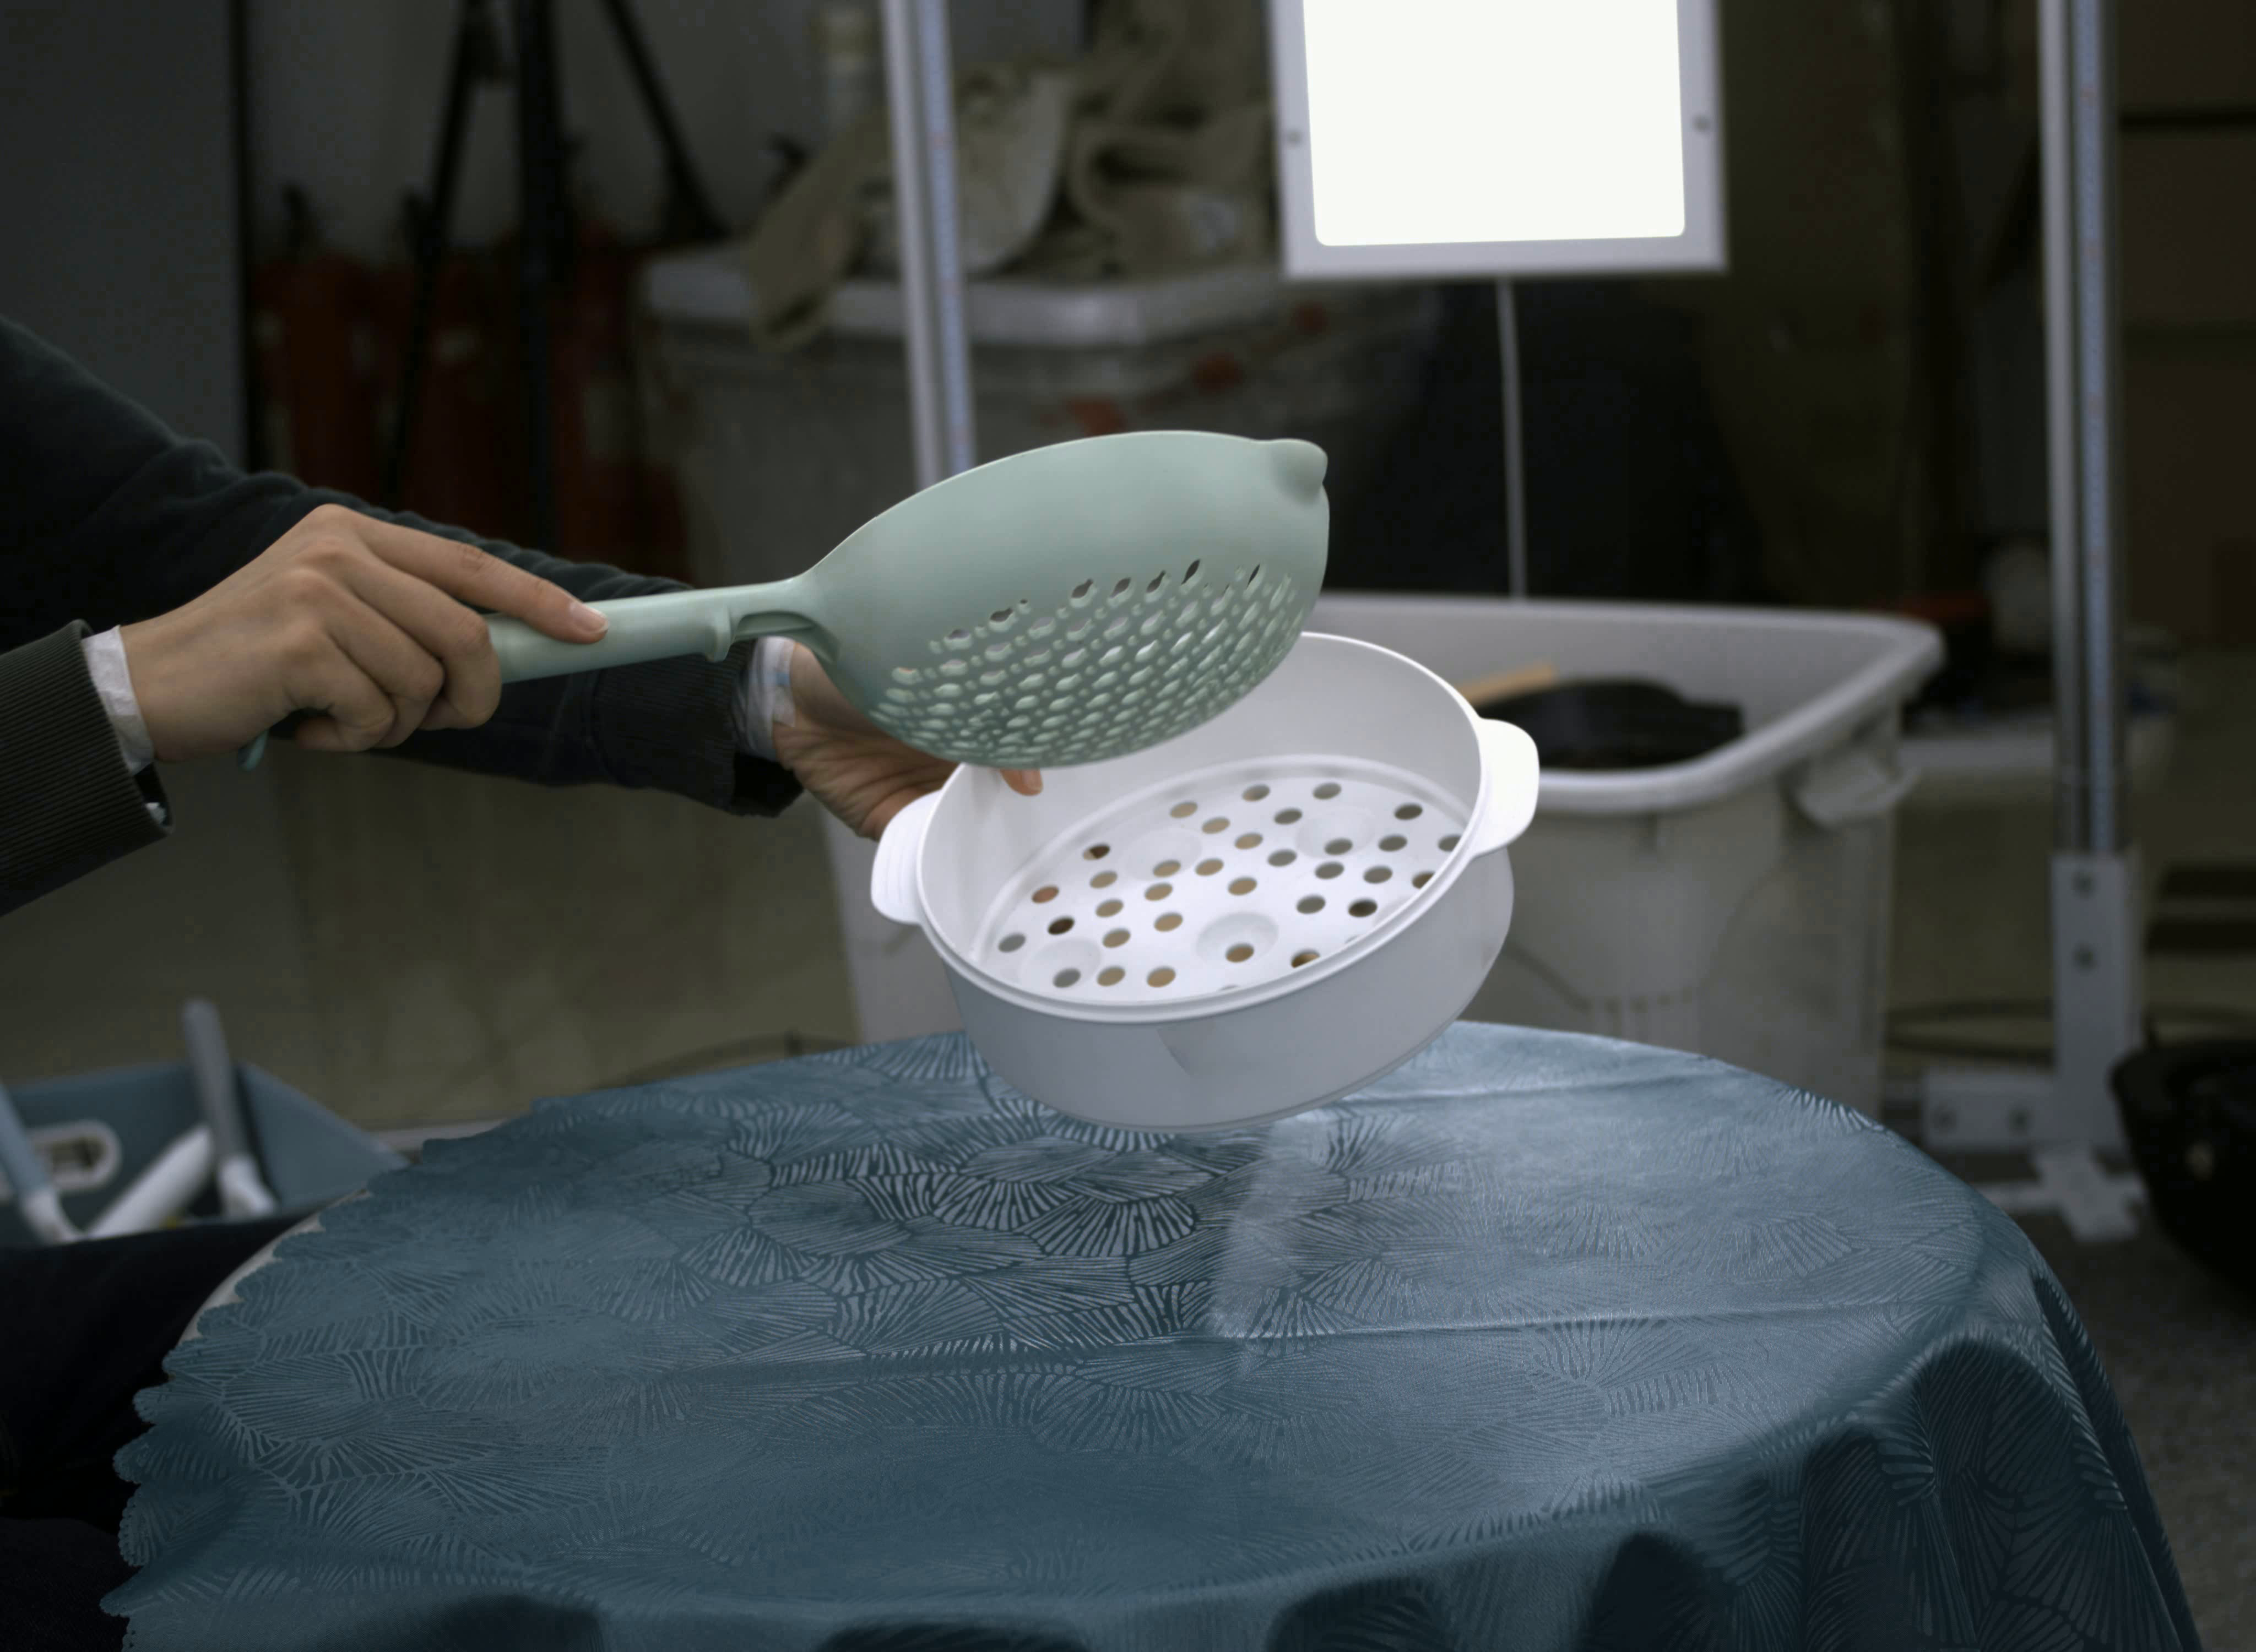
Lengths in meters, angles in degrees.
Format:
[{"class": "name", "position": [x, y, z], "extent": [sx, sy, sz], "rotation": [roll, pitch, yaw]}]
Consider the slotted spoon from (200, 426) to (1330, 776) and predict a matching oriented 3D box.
[{"class": "slotted spoon", "position": [-0.107, -0.058, 1.697], "extent": [0.354, 0.075, 0.171], "rotation": [0, -27, -13]}]

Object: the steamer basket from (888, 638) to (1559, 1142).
[{"class": "steamer basket", "position": [0.037, 0.021, 1.851], "extent": [0.232, 0.069, 0.200], "rotation": [-9, 36, 13]}]
